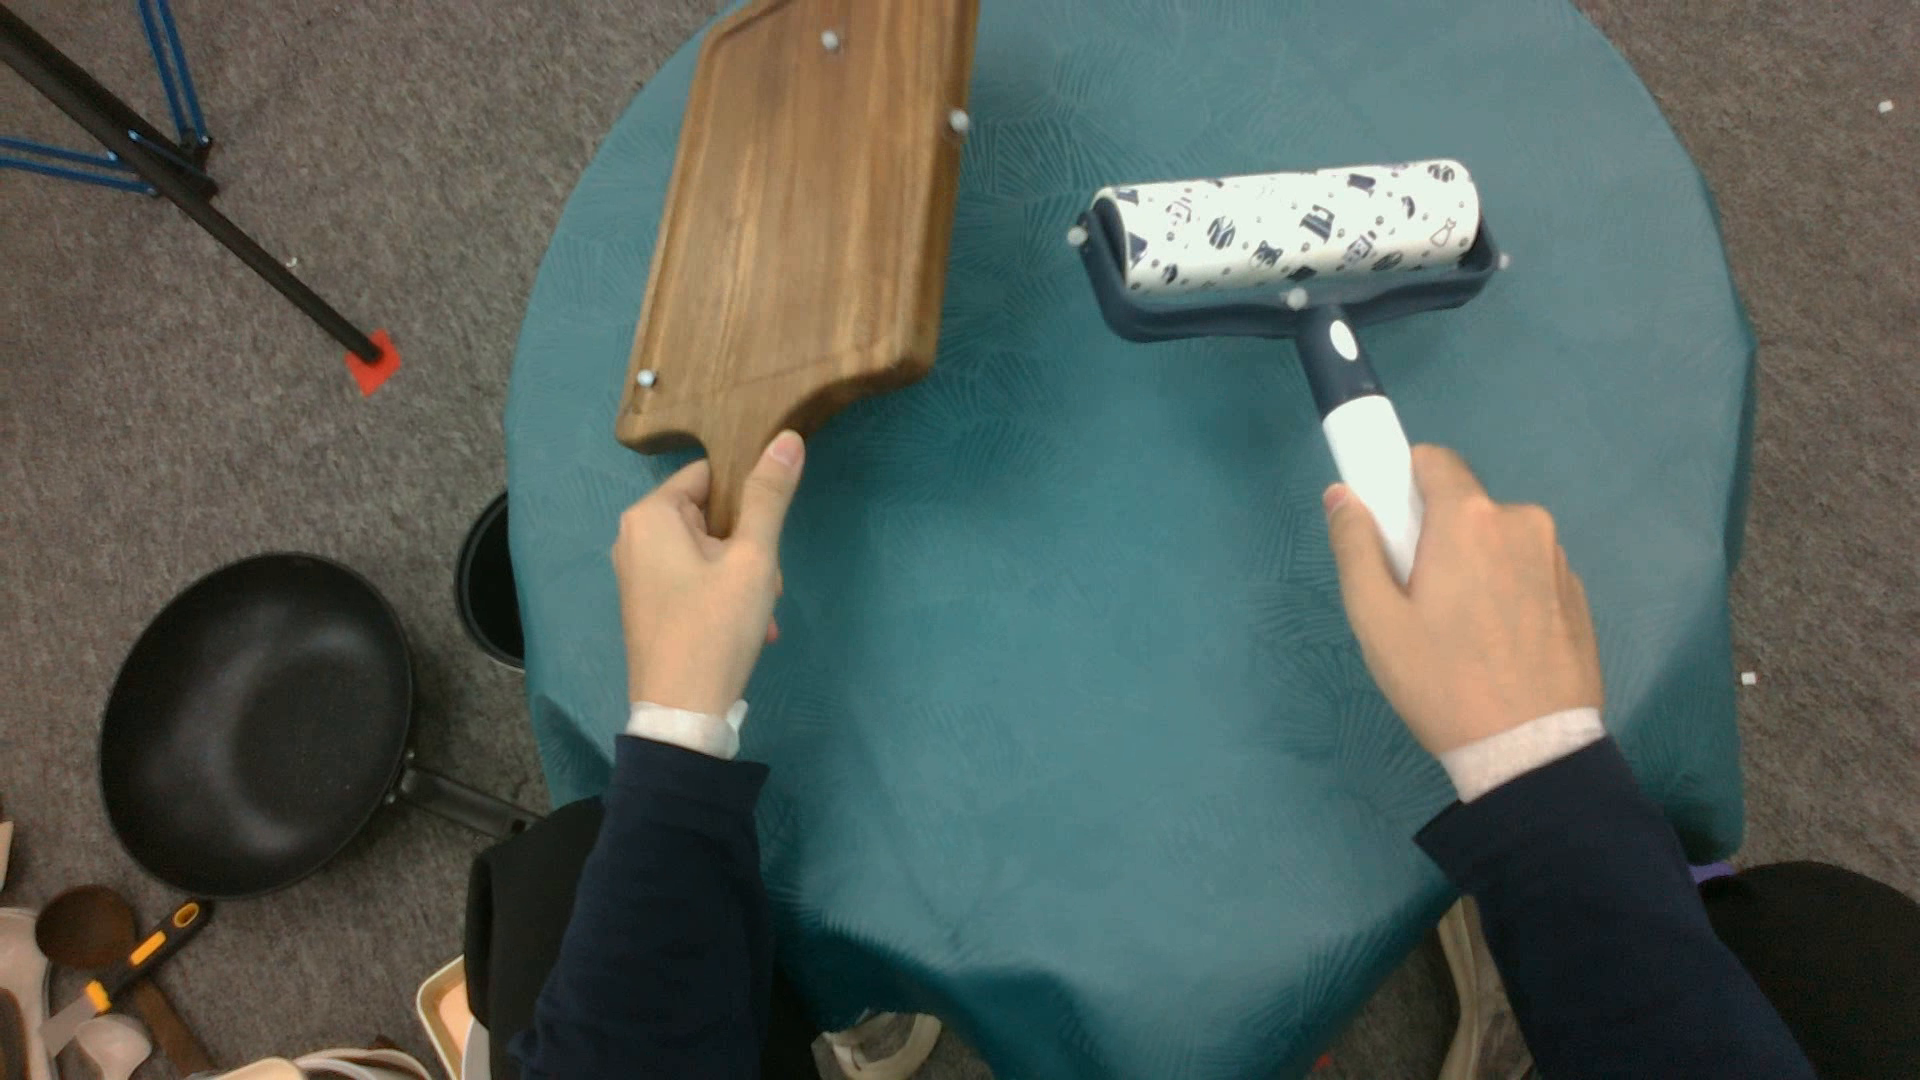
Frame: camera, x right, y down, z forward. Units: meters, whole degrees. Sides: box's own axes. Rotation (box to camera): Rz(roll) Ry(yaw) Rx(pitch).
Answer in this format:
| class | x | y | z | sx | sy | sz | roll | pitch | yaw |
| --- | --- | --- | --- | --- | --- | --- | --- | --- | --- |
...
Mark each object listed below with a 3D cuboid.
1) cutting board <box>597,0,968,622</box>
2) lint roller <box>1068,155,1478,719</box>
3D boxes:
| class | x | y | z | sx | sy | sz | roll | pitch | yaw |
| --- | --- | --- | --- | --- | --- | --- | --- | --- | --- |
| cutting board | -0.091 | -0.131 | 0.650 | 0.200 | 0.023 | 0.353 | -10 | 63 | 37 |
| lint roller | 0.159 | -0.050 | 0.553 | 0.176 | 0.050 | 0.247 | -9 | 65 | -16 |
